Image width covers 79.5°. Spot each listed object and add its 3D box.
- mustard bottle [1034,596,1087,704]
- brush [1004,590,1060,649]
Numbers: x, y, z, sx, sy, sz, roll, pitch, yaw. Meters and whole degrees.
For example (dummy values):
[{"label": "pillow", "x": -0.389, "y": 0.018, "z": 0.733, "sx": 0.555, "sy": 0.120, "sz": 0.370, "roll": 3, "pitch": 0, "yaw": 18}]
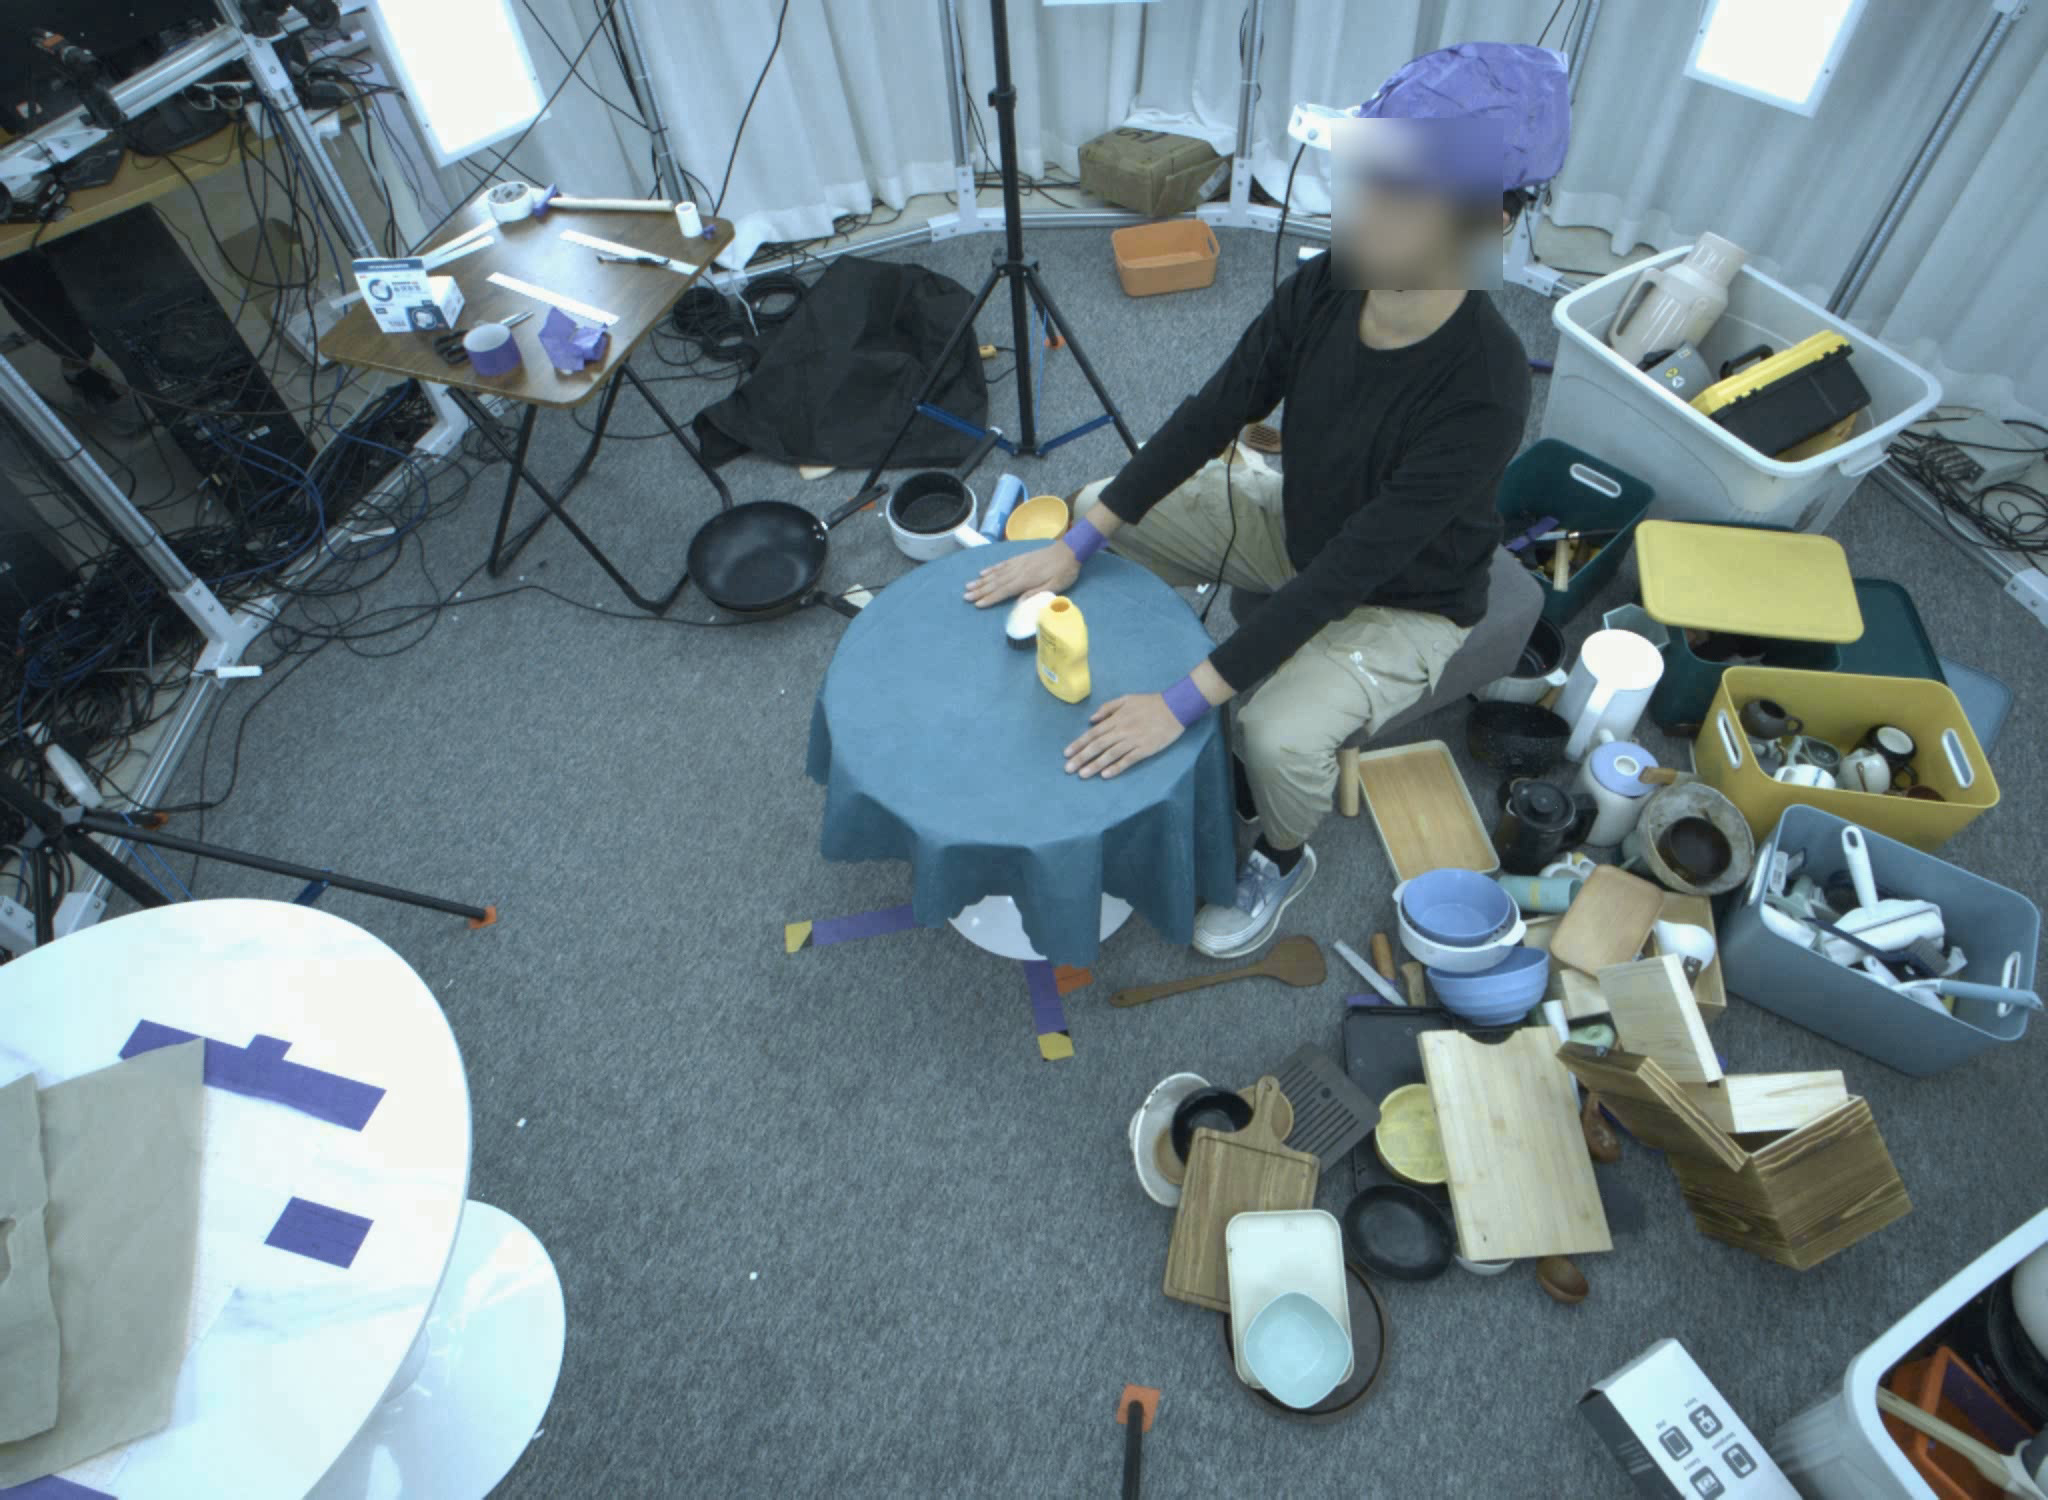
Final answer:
[{"label": "mustard bottle", "x": 0.052, "y": -0.153, "z": 1.793, "sx": 0.060, "sy": 0.174, "sz": 0.096, "roll": -35, "pitch": 58, "yaw": -23}, {"label": "brush", "x": 0.014, "y": -0.209, "z": 1.891, "sx": 0.100, "sy": 0.073, "sz": 0.049, "roll": -31, "pitch": 60, "yaw": -16}]
